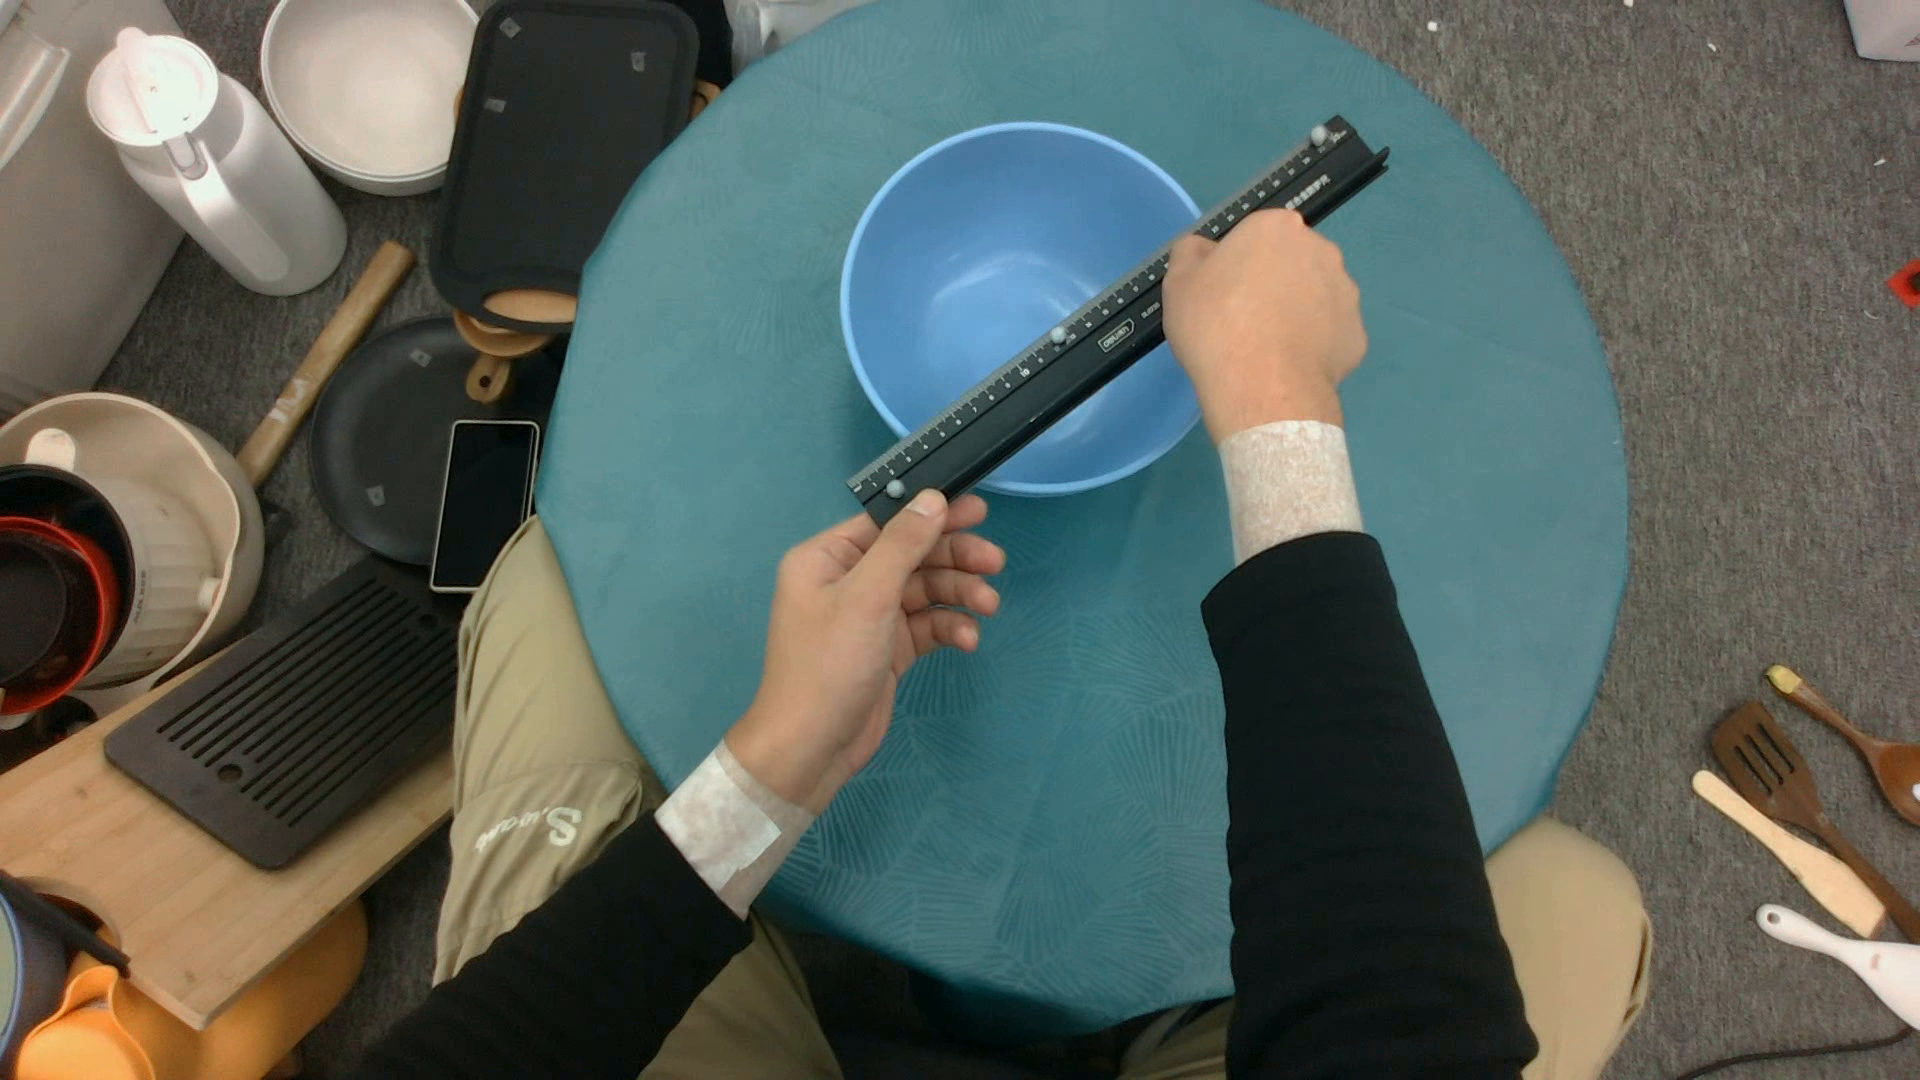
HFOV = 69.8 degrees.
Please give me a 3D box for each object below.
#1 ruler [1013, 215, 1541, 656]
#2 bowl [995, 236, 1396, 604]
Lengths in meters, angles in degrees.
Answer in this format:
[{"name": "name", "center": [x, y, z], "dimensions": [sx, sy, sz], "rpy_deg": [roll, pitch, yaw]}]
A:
[{"name": "ruler", "center": [0.155, -0.057, 0.653], "dimensions": [0.313, 0.017, 0.039], "rpy_deg": [-38, 71, -9]}, {"name": "bowl", "center": [0.117, -0.050, 0.720], "dimensions": [0.196, 0.095, 0.197], "rpy_deg": [-1, 70, 2]}]
